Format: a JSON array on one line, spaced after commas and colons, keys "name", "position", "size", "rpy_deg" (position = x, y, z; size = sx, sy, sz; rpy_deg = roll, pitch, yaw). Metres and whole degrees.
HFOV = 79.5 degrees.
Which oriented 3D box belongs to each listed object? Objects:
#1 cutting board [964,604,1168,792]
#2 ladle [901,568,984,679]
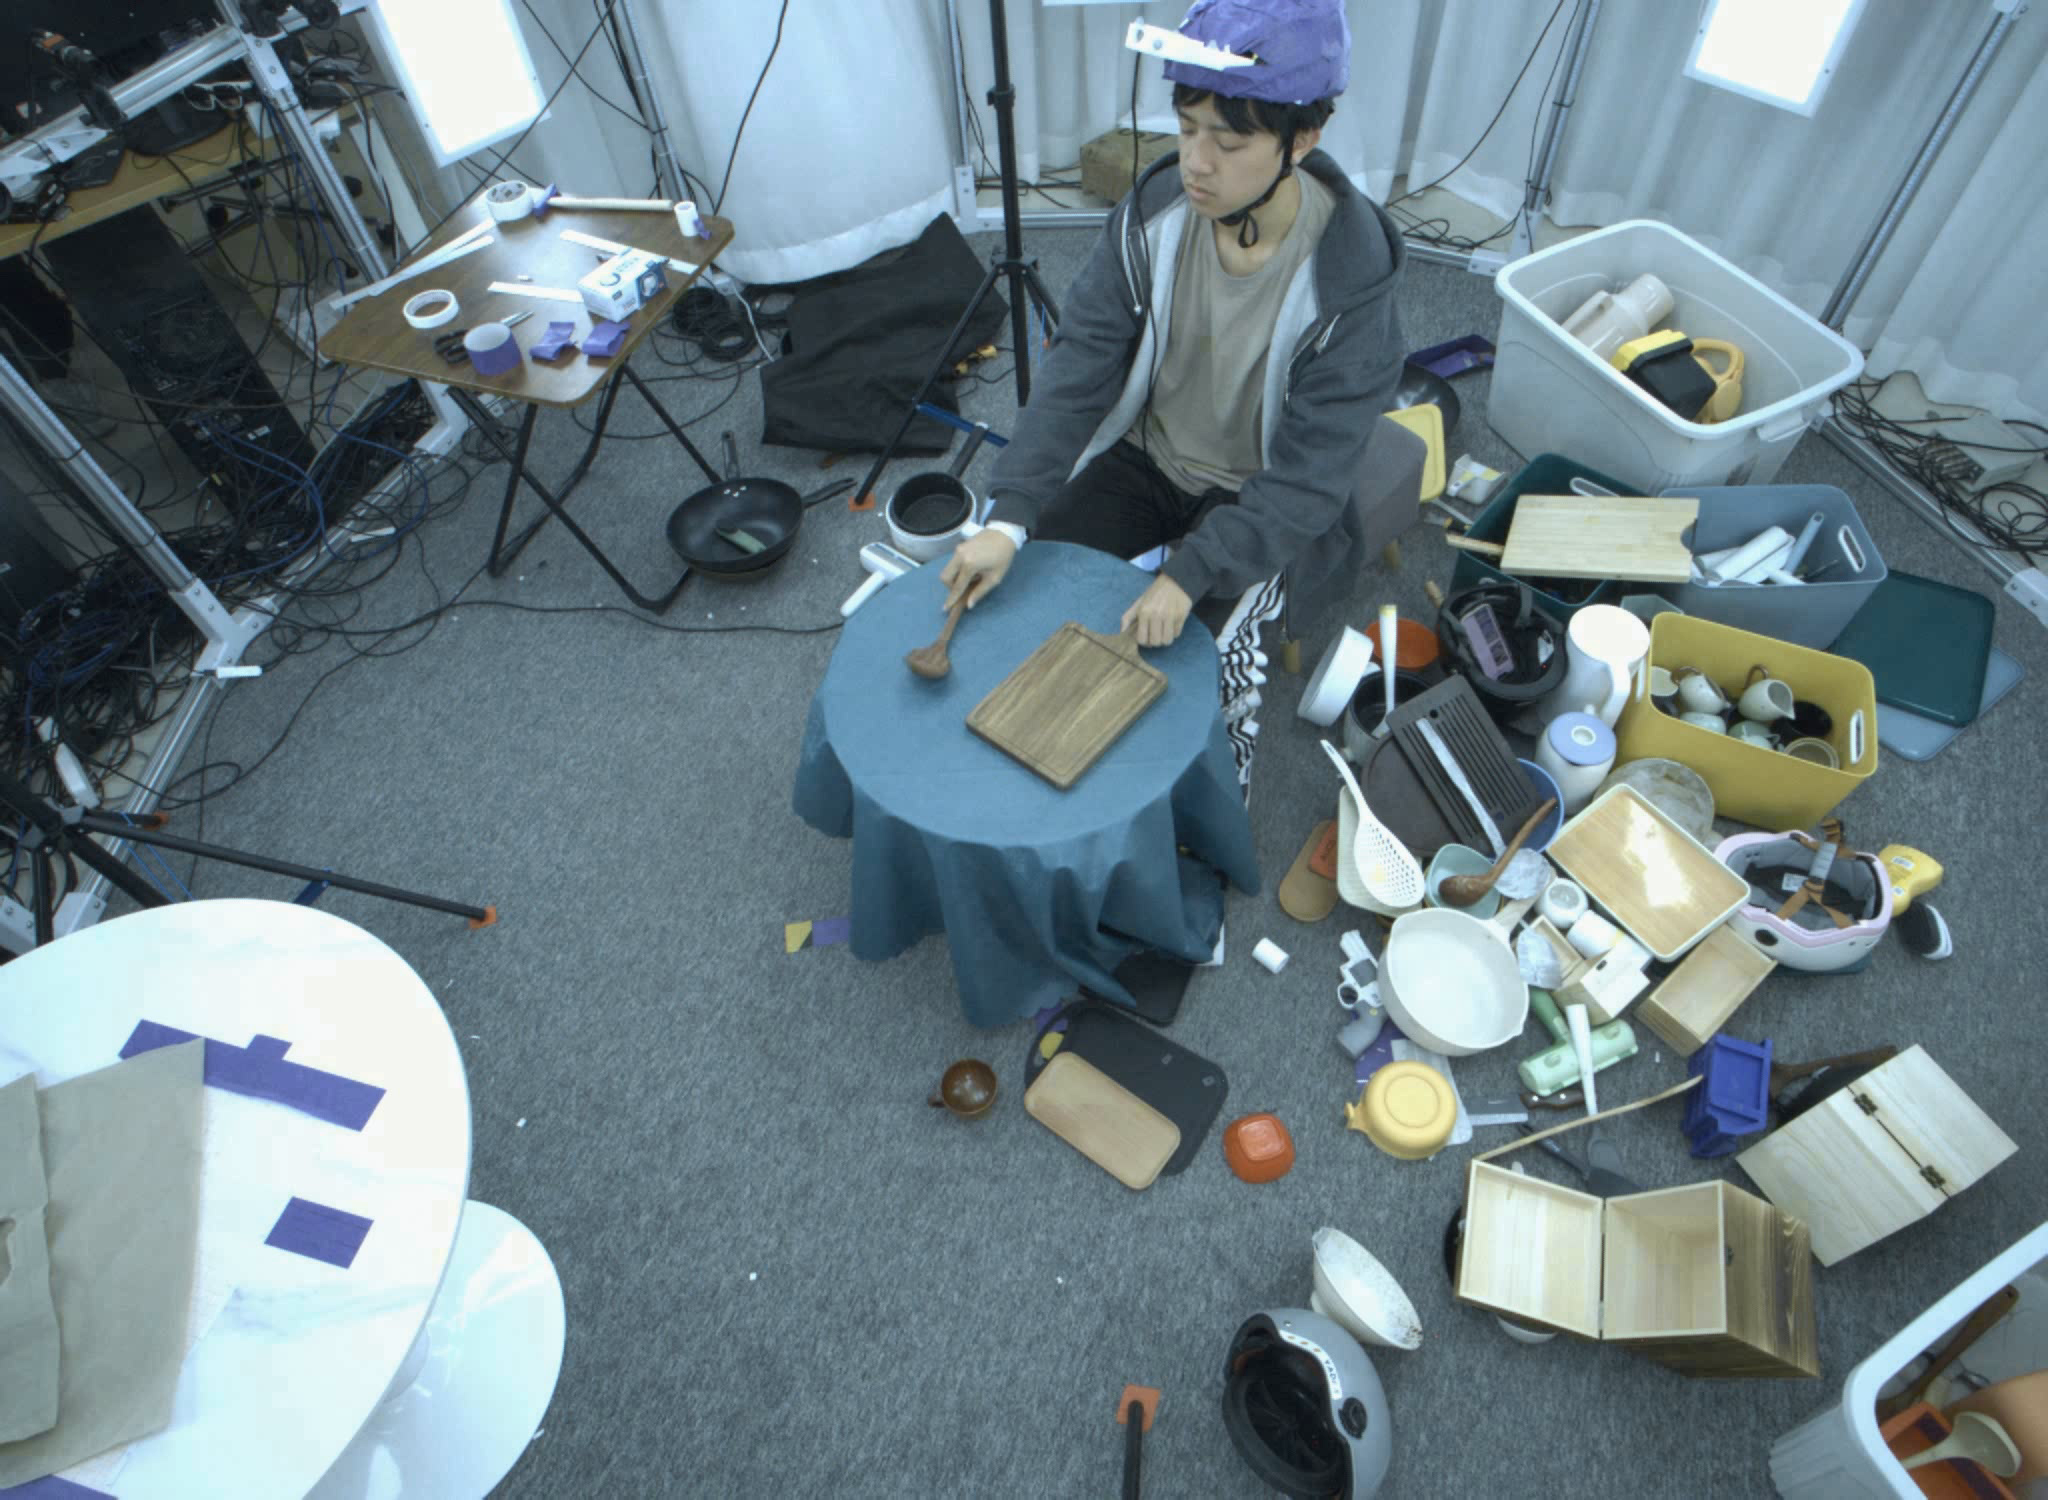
[{"name": "cutting board", "position": [0.095, -0.104, 1.842], "size": [0.198, 0.023, 0.354], "rpy_deg": [34, 64, 22]}, {"name": "ladle", "position": [-0.115, -0.208, 1.902], "size": [0.076, 0.065, 0.260], "rpy_deg": [23, 57, 3]}]
